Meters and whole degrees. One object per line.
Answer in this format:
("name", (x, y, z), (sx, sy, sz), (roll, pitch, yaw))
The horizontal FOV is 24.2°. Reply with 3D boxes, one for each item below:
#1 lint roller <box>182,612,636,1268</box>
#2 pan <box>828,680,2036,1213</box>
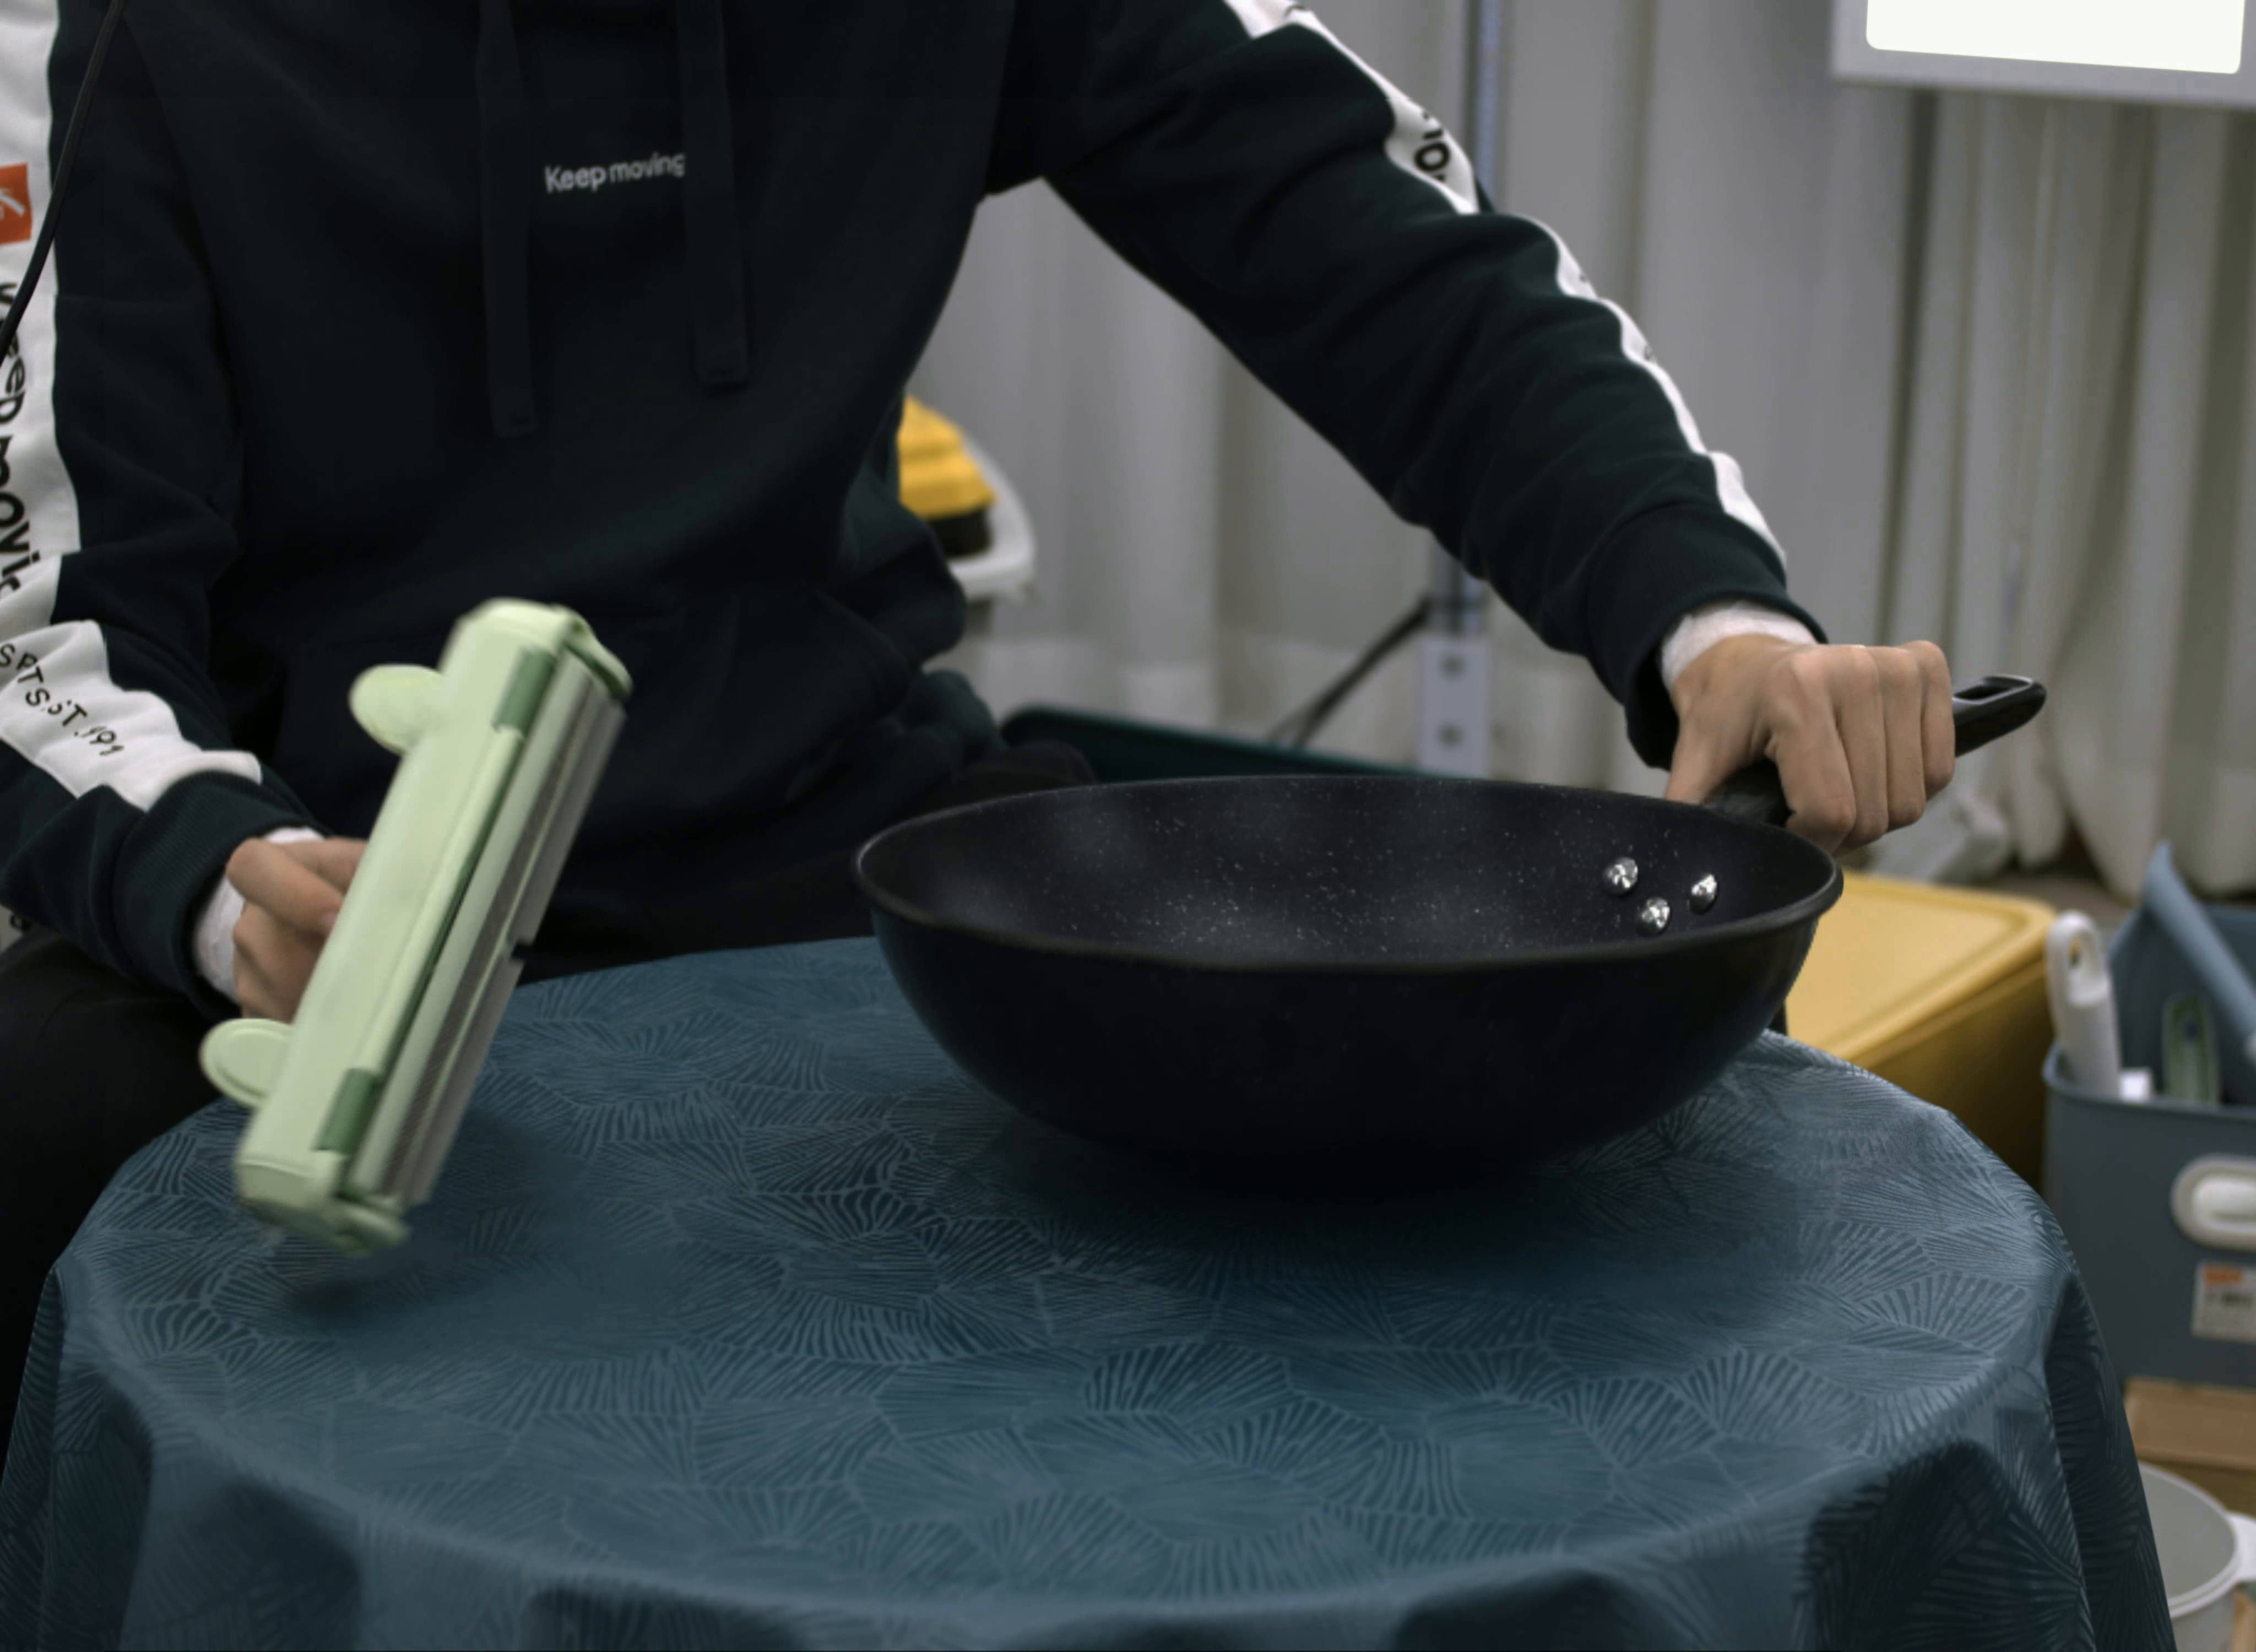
("lint roller", (-0.234, 0.035, 1.582), (0.083, 0.198, 0.182), (31, -19, -20))
("pan", (0.125, 0.035, 1.686), (0.479, 0.112, 0.306), (-10, 16, -40))
